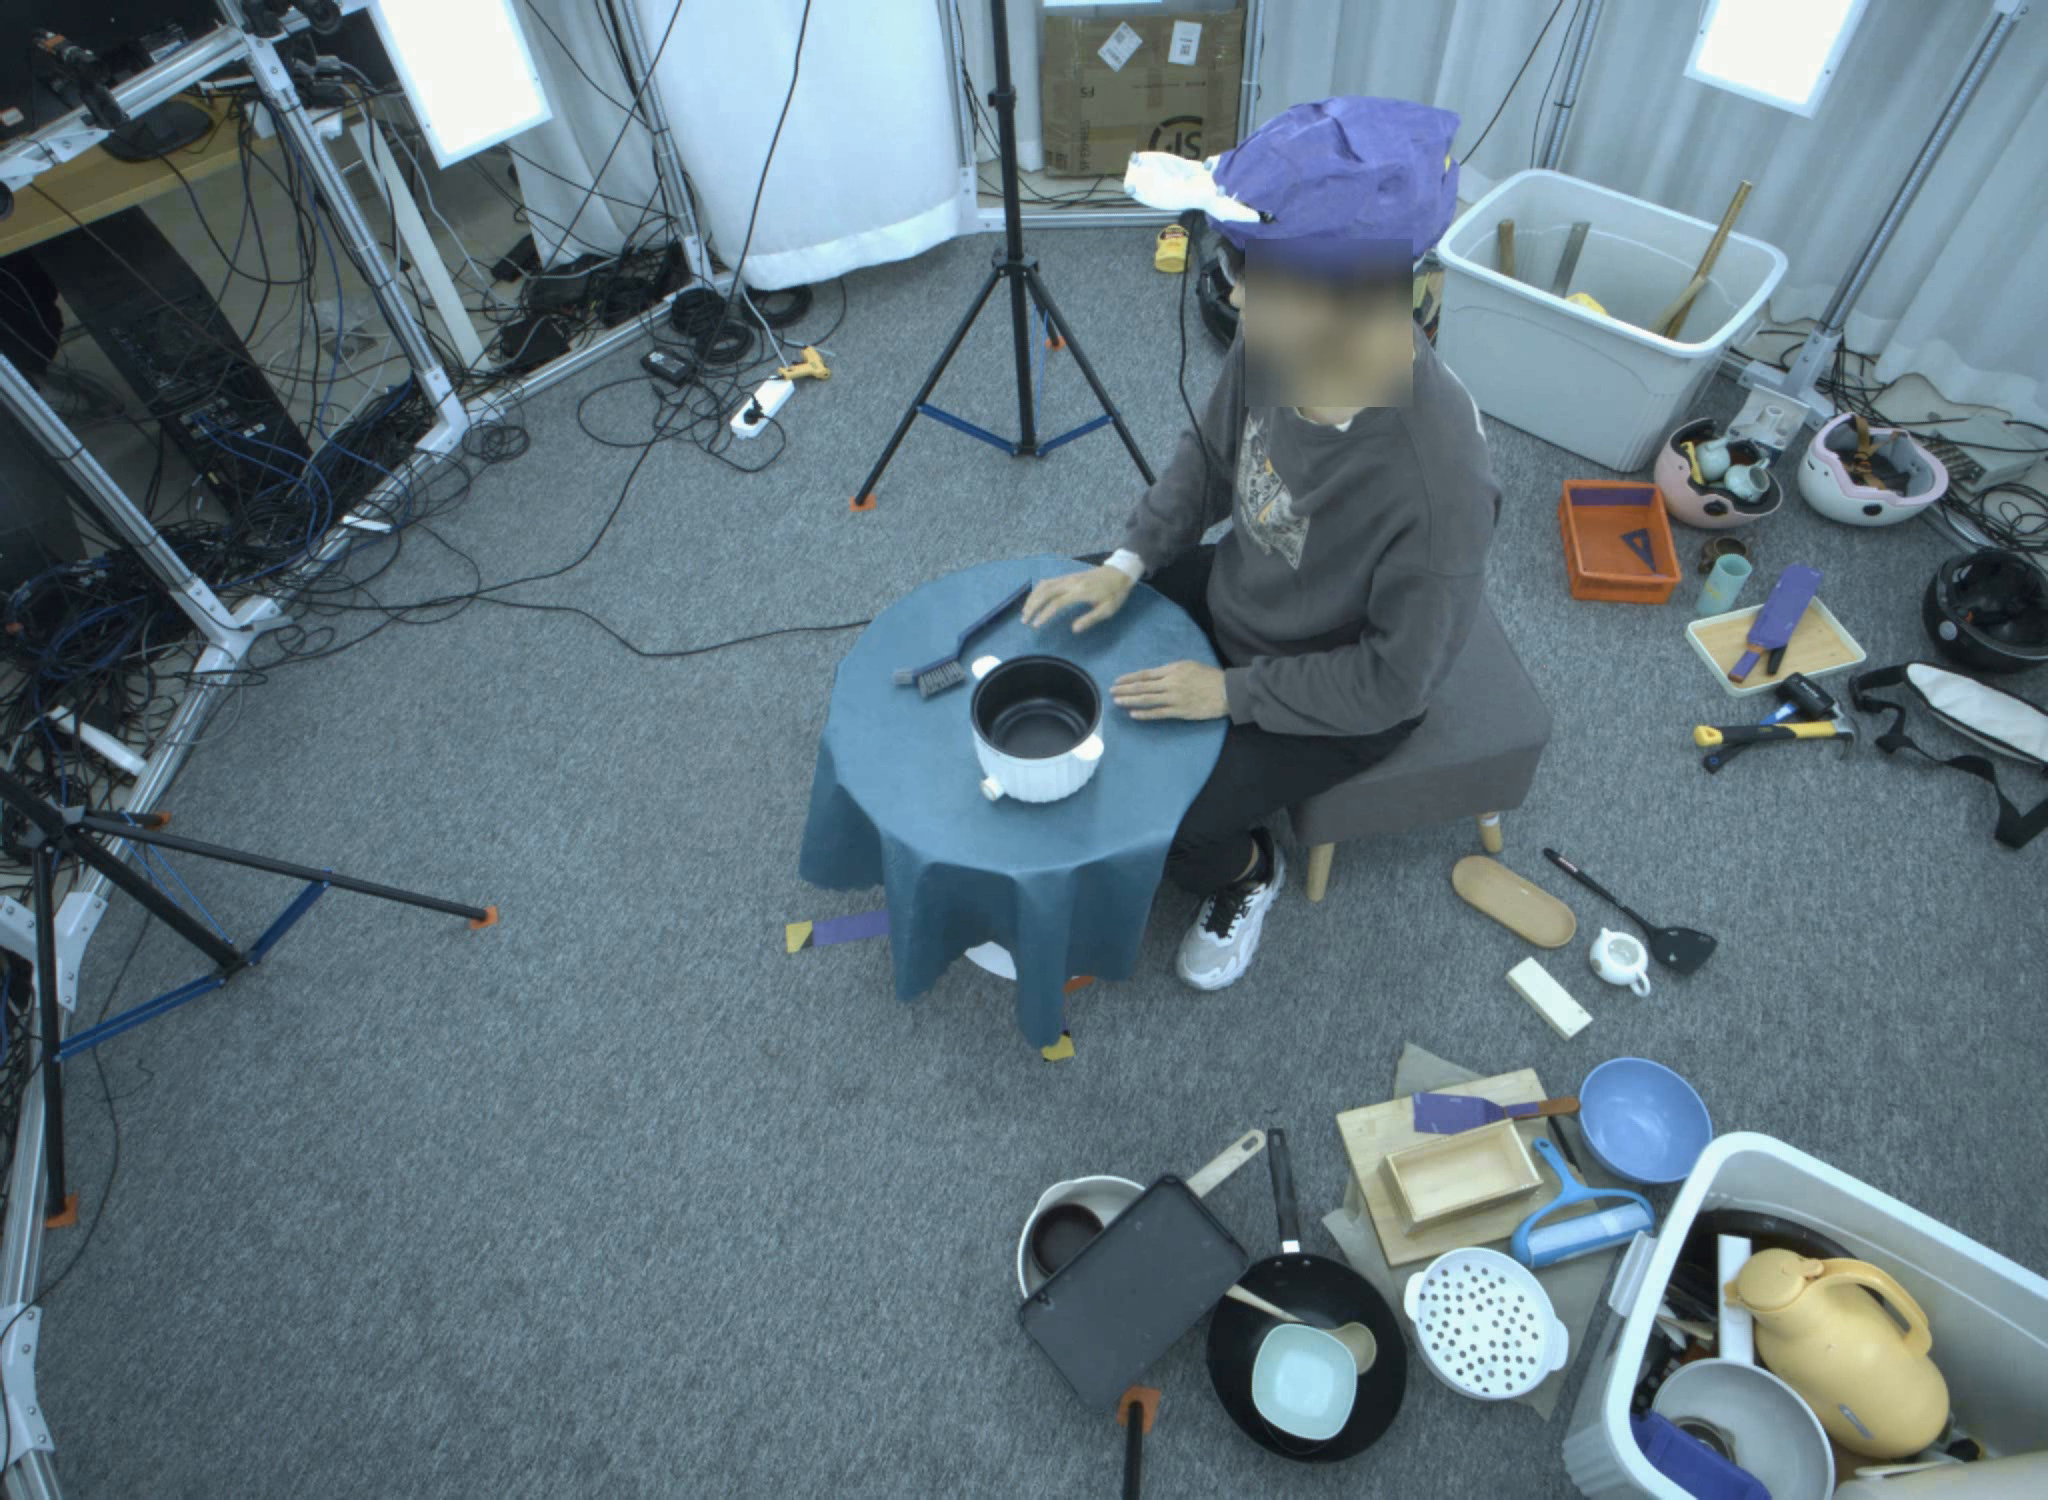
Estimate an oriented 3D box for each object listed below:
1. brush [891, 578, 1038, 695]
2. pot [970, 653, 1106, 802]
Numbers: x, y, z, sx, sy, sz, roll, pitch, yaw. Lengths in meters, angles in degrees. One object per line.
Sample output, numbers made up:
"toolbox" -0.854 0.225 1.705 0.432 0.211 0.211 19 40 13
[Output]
"brush" -0.086 -0.184 1.901 0.094 0.034 0.274 30 62 22
"pot" 0.017 -0.019 1.711 0.192 0.144 0.236 -37 59 -26
